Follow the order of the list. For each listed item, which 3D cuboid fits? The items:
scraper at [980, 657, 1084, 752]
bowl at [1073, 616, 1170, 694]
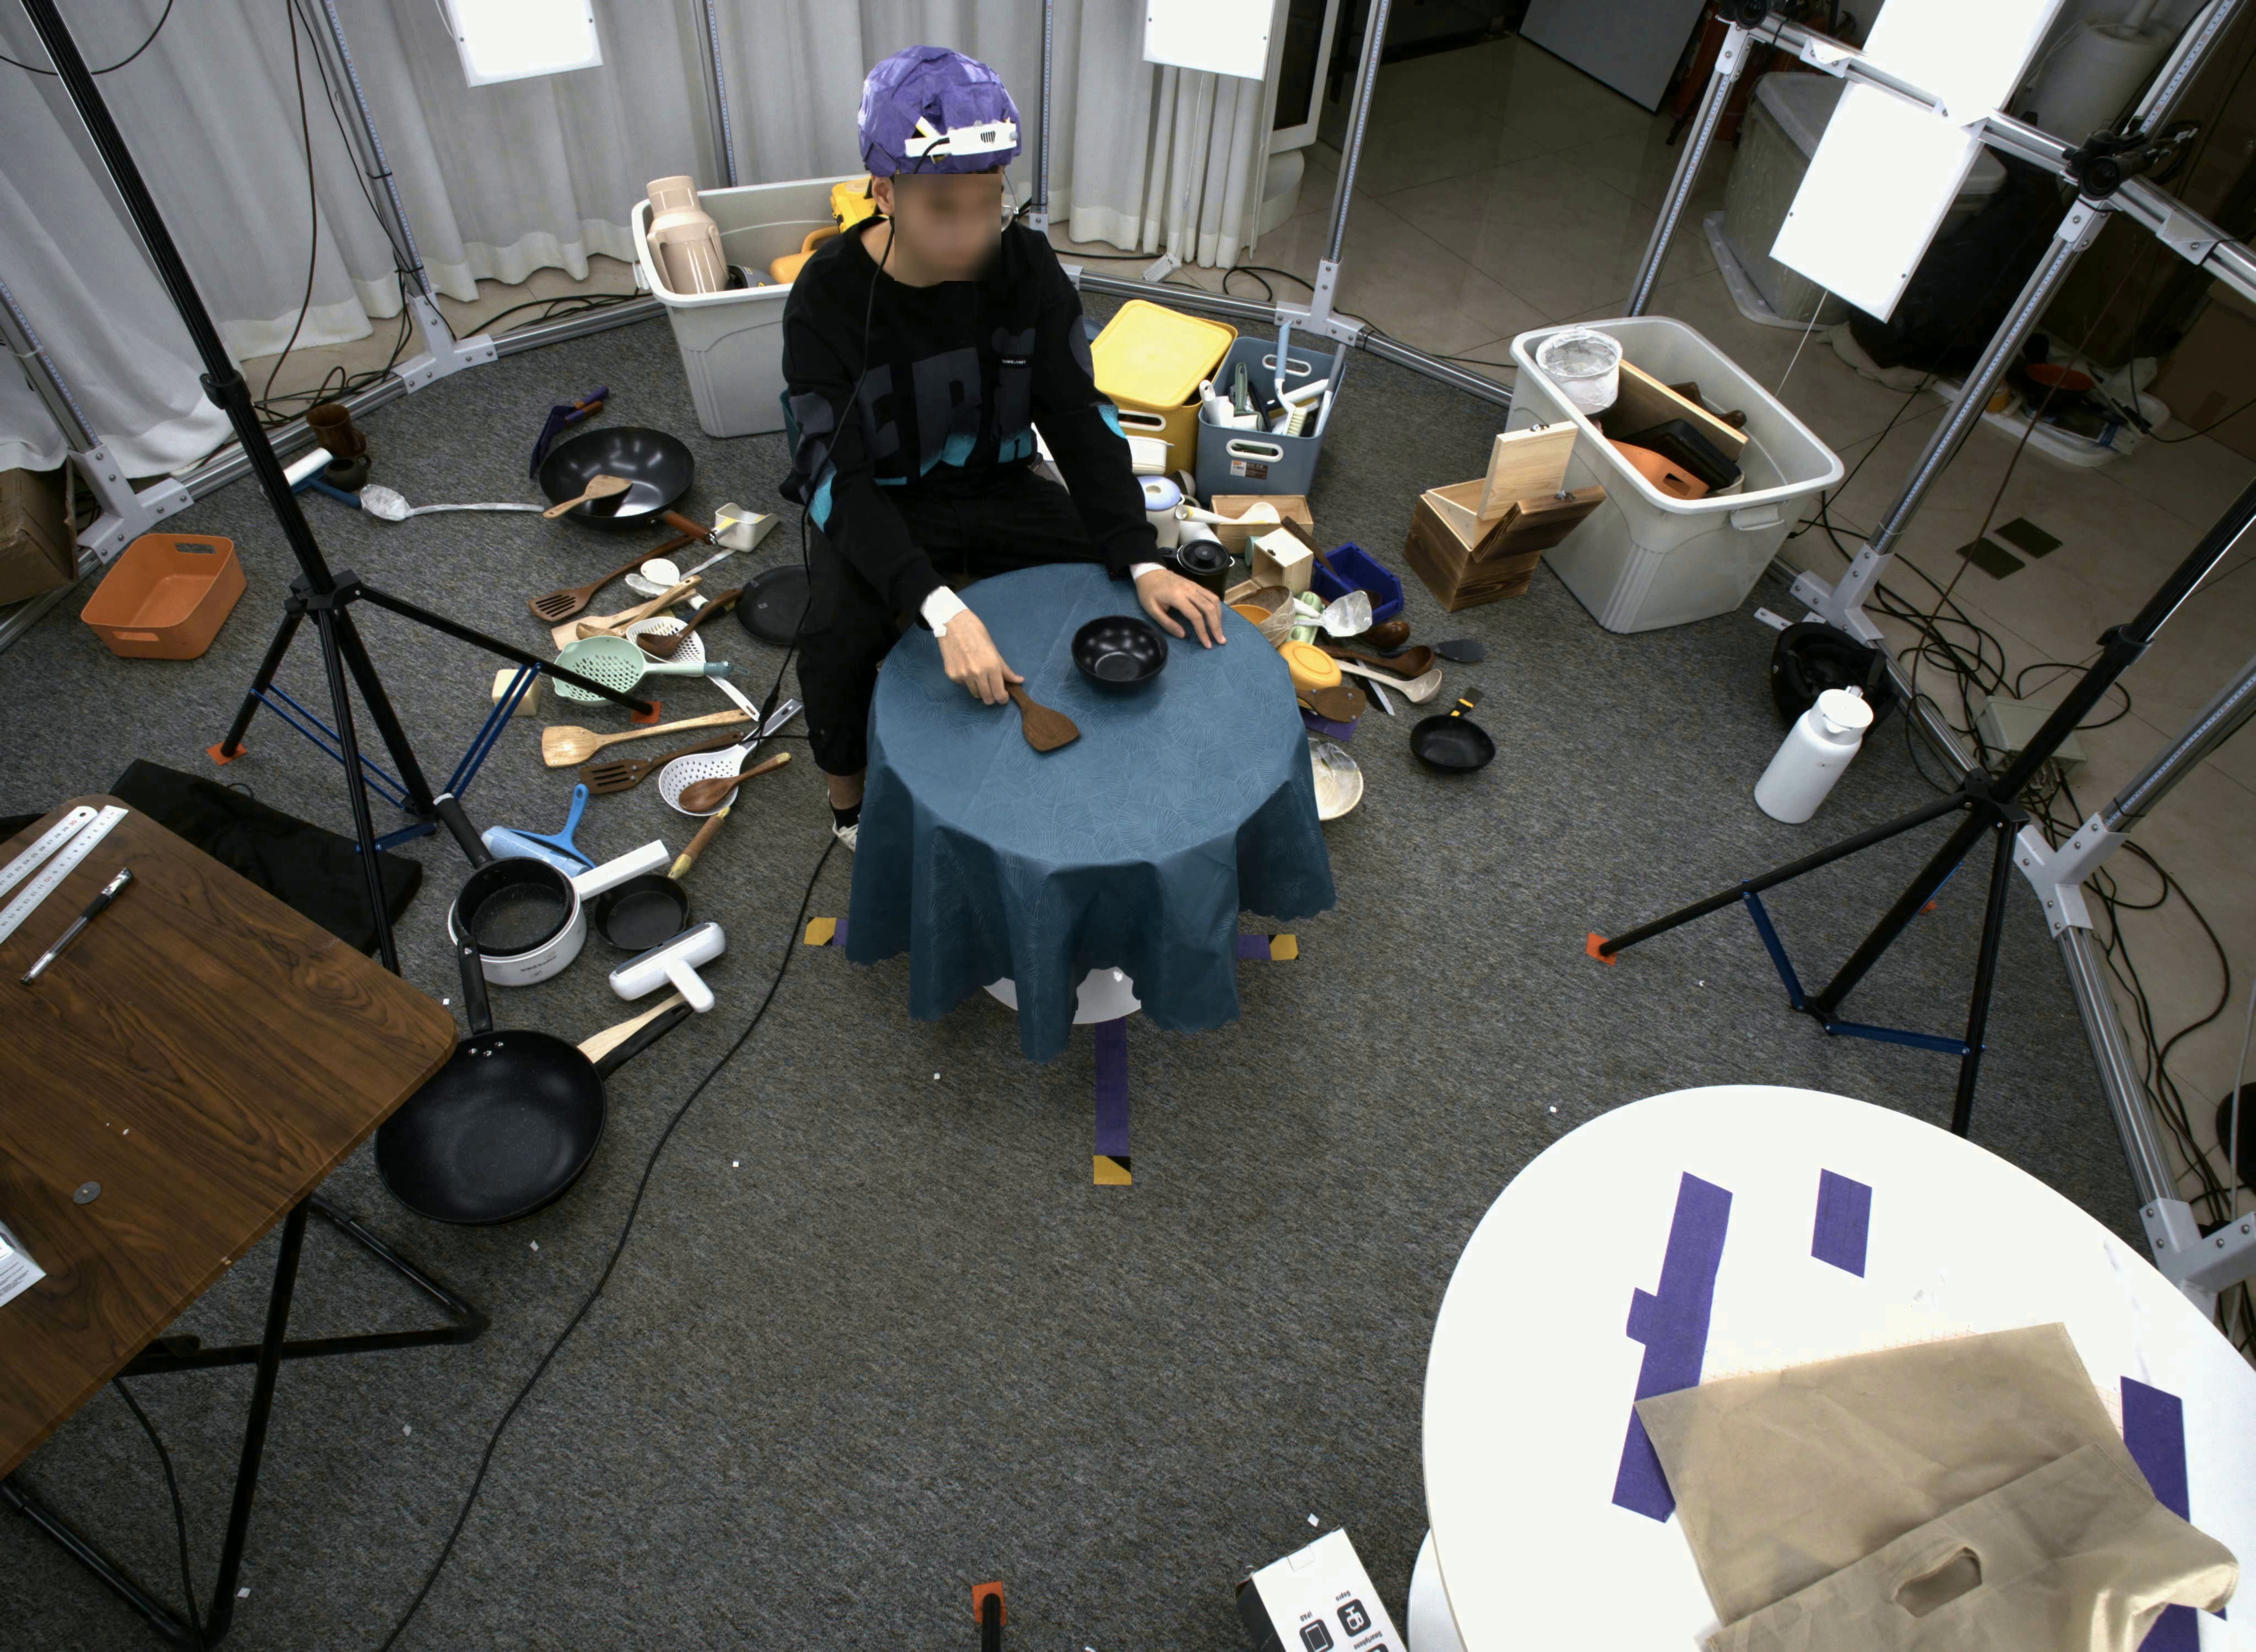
[{"bbox_3d":[-0.146,-0.176,1.823,0.076,0.010,0.215,-24,54,-25],"label":"scraper"},{"bbox_3d":[-0.010,-0.239,1.860,0.140,0.048,0.143,1,51,-1],"label":"bowl"}]
